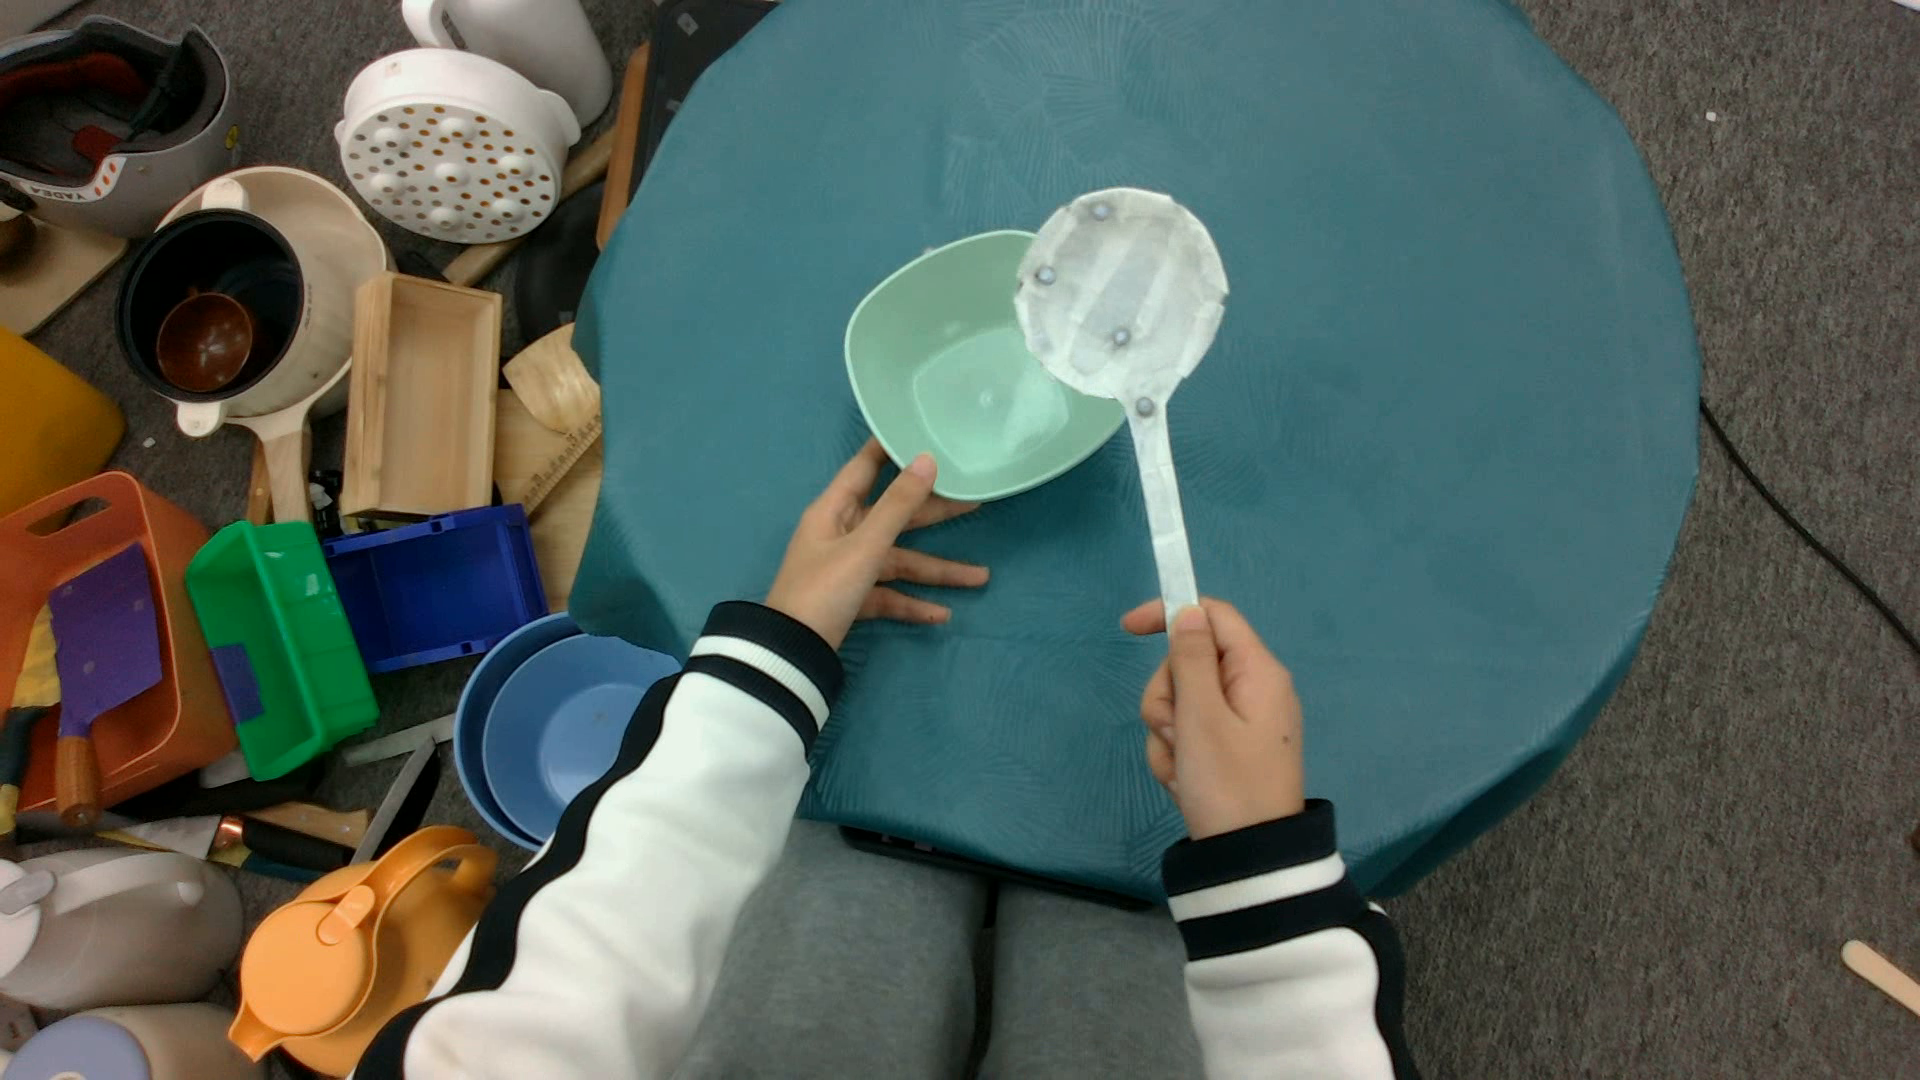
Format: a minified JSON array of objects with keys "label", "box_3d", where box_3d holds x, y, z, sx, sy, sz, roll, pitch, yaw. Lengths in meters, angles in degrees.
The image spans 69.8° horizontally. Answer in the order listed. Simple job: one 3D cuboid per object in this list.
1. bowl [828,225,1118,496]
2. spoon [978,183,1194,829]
[{"label":"bowl","box_3d":[0.008,-0.086,0.723,0.151,0.058,0.152,0,73,1]},{"label":"spoon","box_3d":[0.063,-0.018,0.589,0.100,0.059,0.278,-13,69,24]}]
